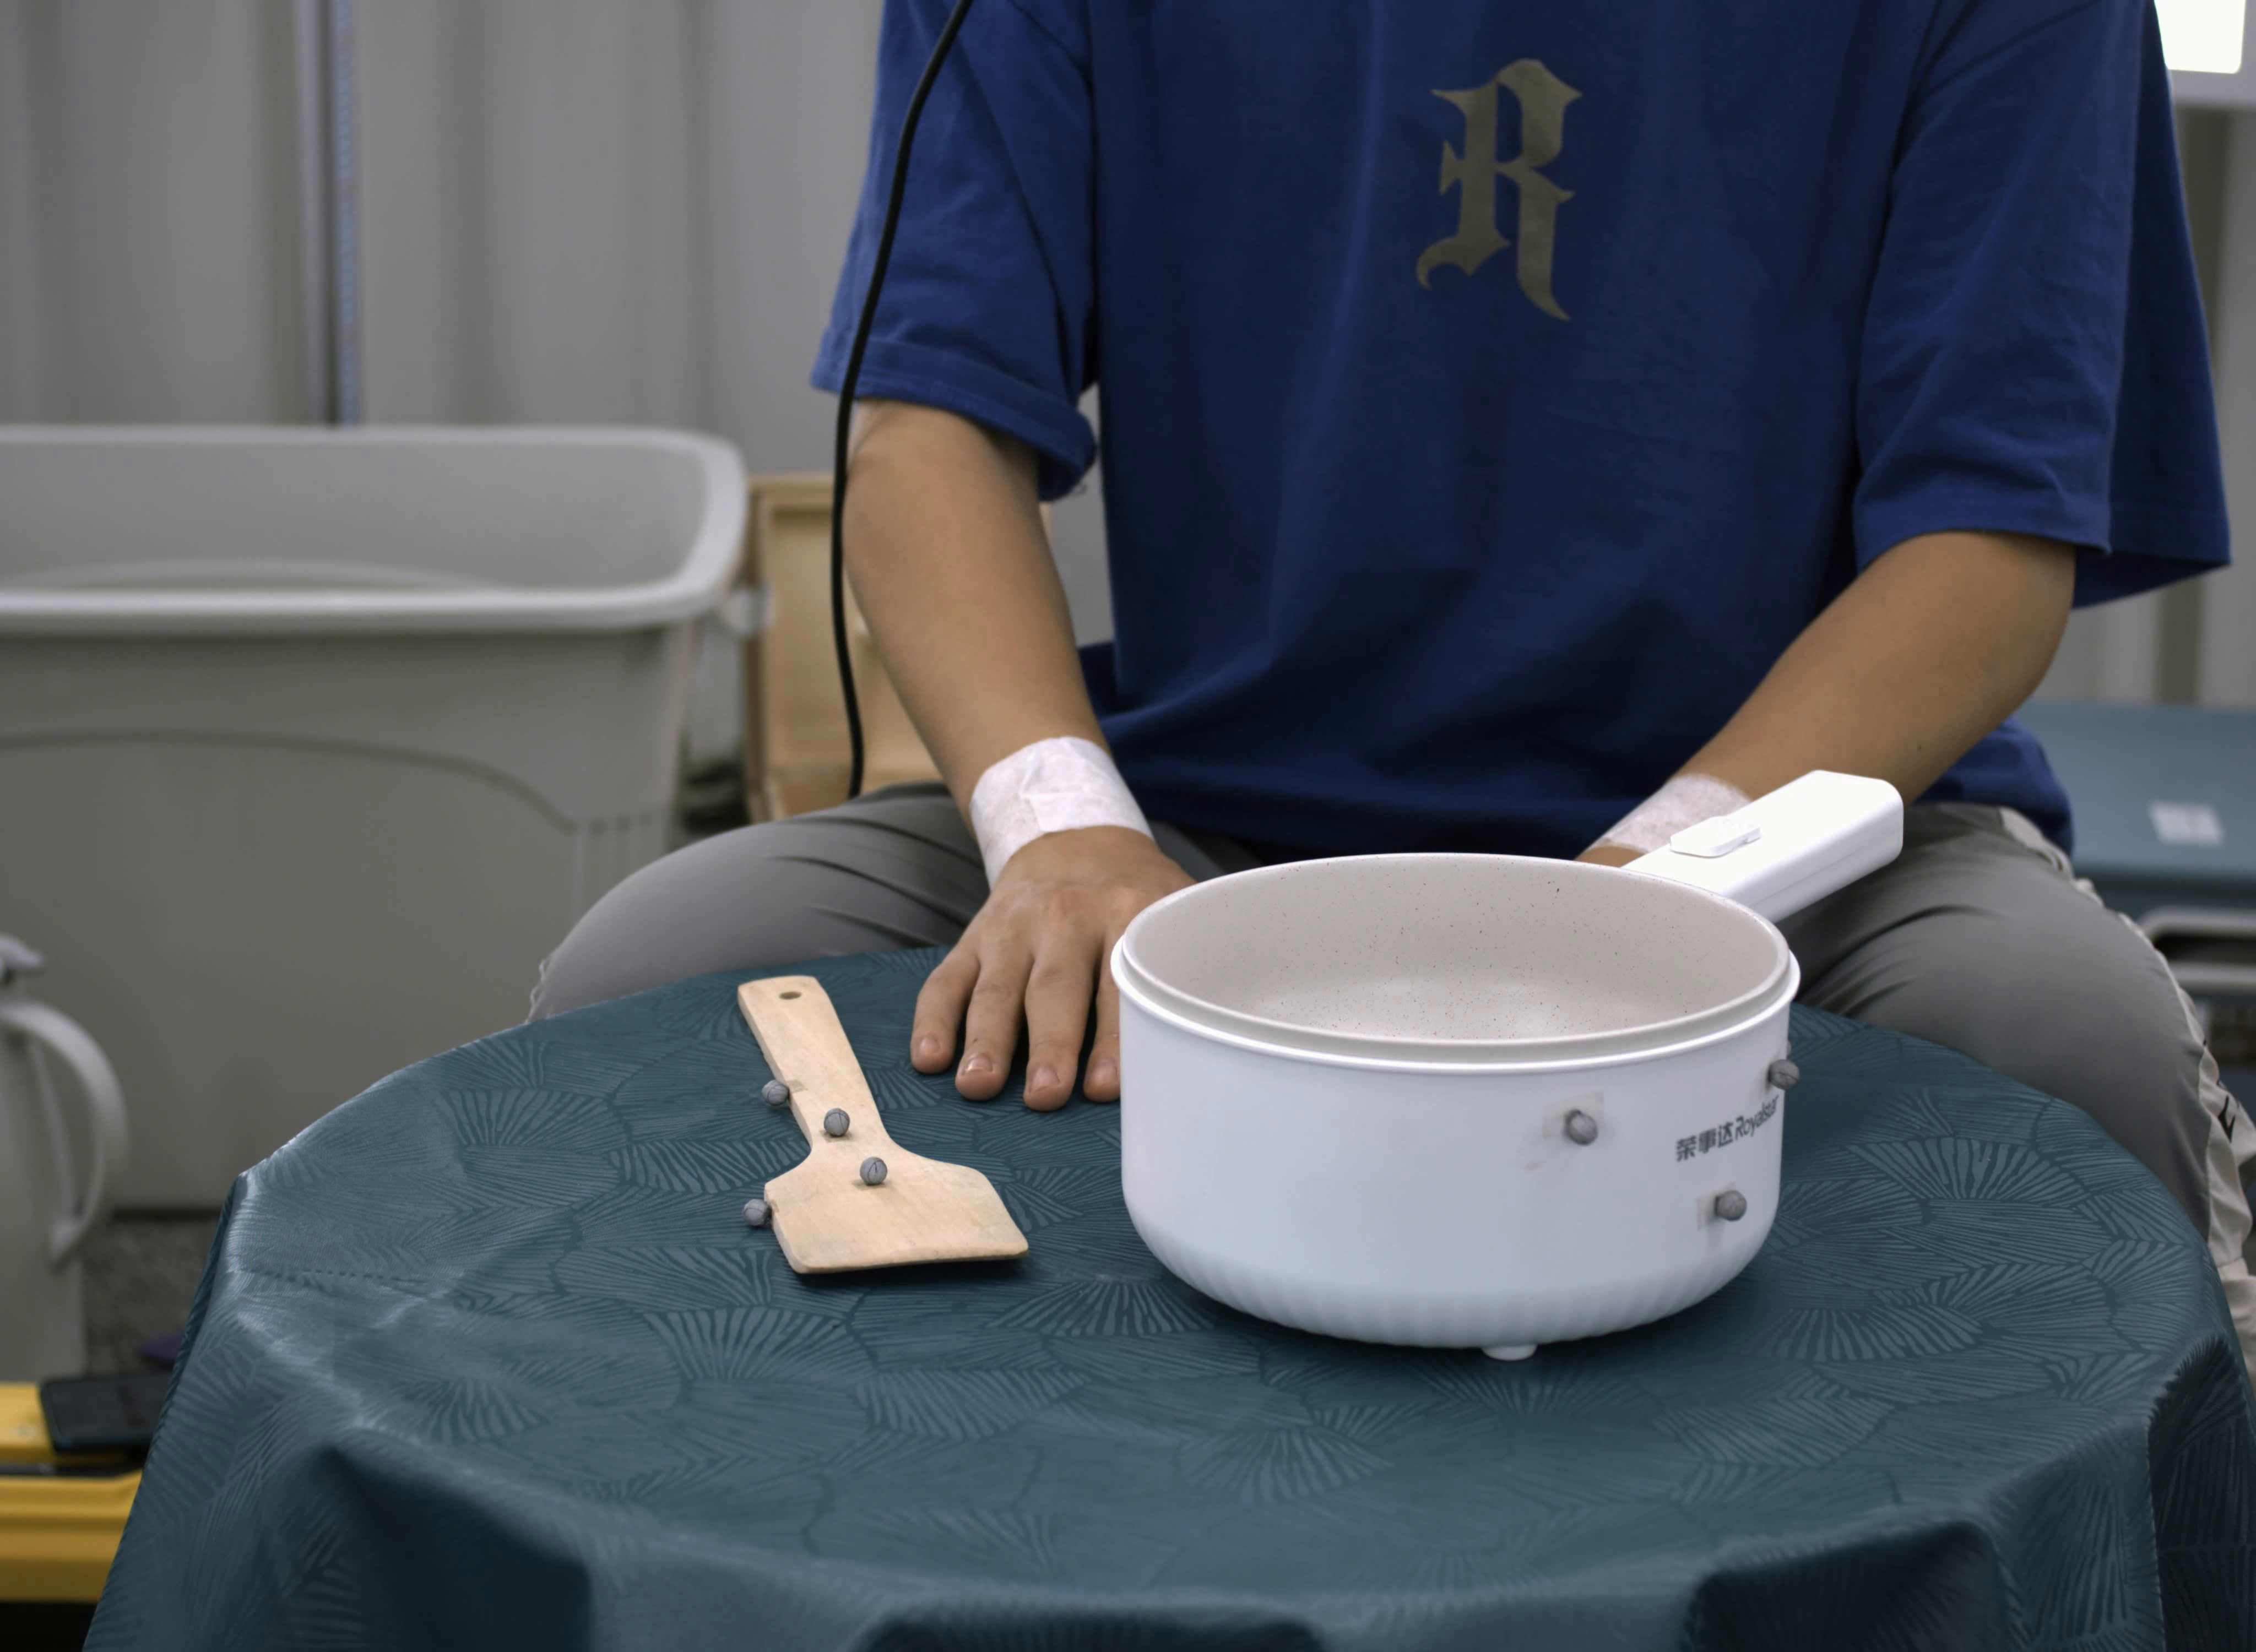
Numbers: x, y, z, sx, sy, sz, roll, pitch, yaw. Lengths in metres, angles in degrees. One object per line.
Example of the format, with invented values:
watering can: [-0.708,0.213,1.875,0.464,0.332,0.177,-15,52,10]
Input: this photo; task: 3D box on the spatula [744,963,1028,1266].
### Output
spatula: [-0.092,0.089,1.679,0.072,0.011,0.290,-4,16,-11]

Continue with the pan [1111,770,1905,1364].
pan: [0.139,0.067,1.609,0.199,0.103,0.356,9,18,33]
